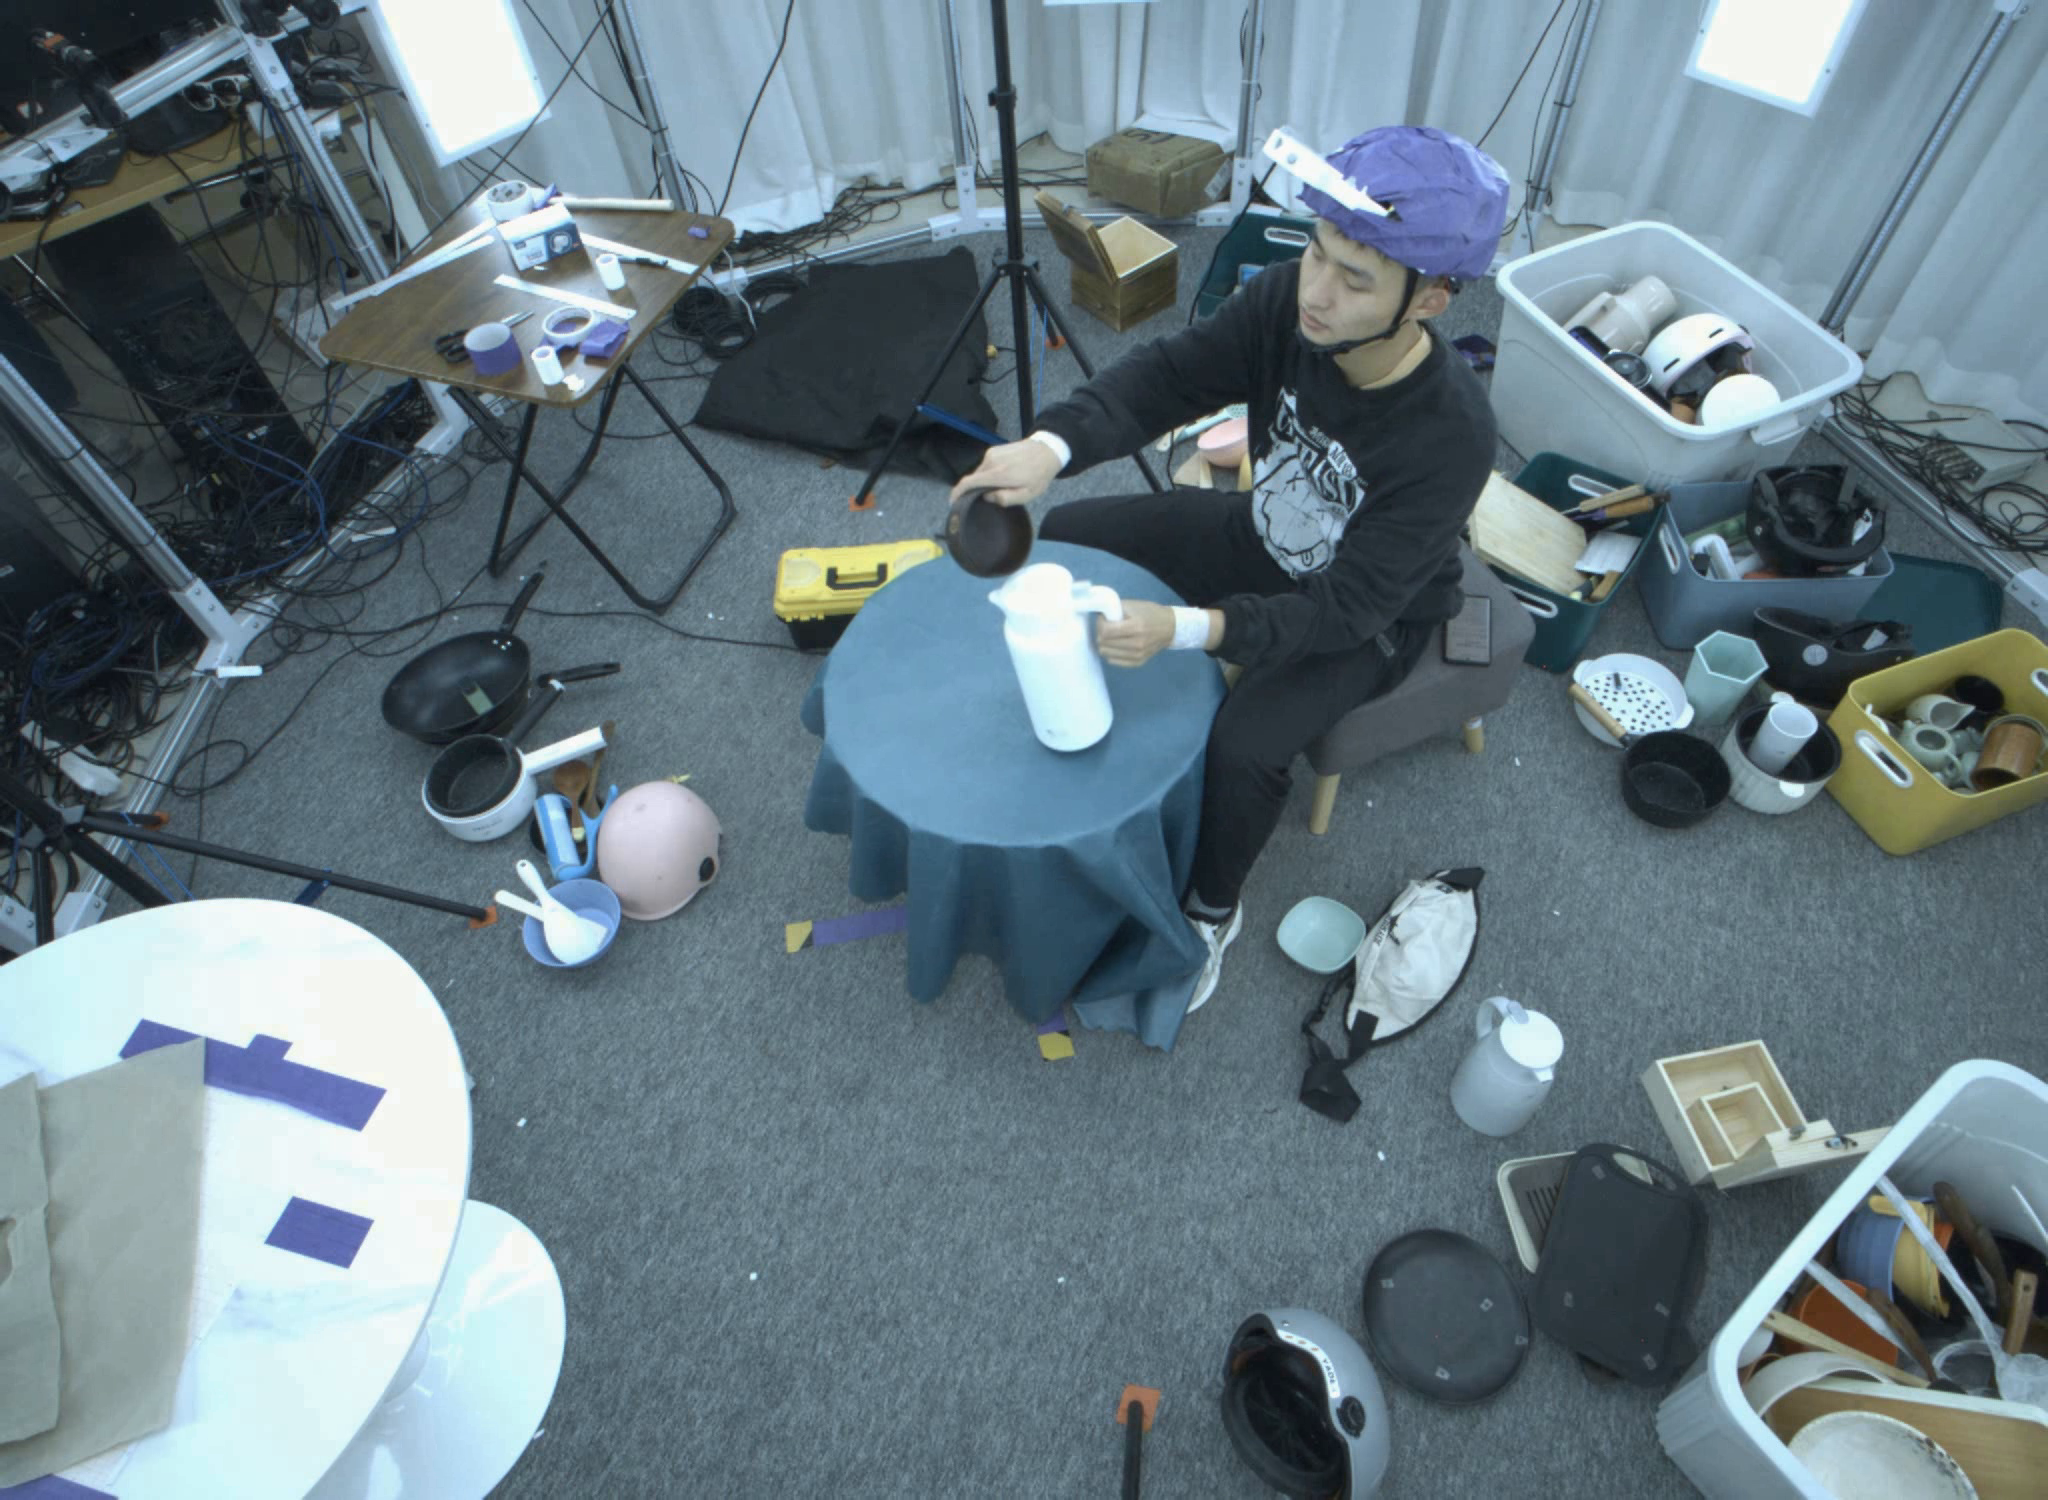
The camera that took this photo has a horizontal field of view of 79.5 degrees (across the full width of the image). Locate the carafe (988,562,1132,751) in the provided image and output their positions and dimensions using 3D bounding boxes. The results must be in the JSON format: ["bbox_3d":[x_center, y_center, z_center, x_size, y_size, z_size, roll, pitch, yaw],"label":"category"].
[{"bbox_3d":[0.062,-0.127,1.696,0.171,0.273,0.123,-3,47,13],"label":"carafe"}]

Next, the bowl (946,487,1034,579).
[{"bbox_3d":[-0.053,-0.281,1.590,0.068,0.120,0.118,4,47,49],"label":"bowl"}]
